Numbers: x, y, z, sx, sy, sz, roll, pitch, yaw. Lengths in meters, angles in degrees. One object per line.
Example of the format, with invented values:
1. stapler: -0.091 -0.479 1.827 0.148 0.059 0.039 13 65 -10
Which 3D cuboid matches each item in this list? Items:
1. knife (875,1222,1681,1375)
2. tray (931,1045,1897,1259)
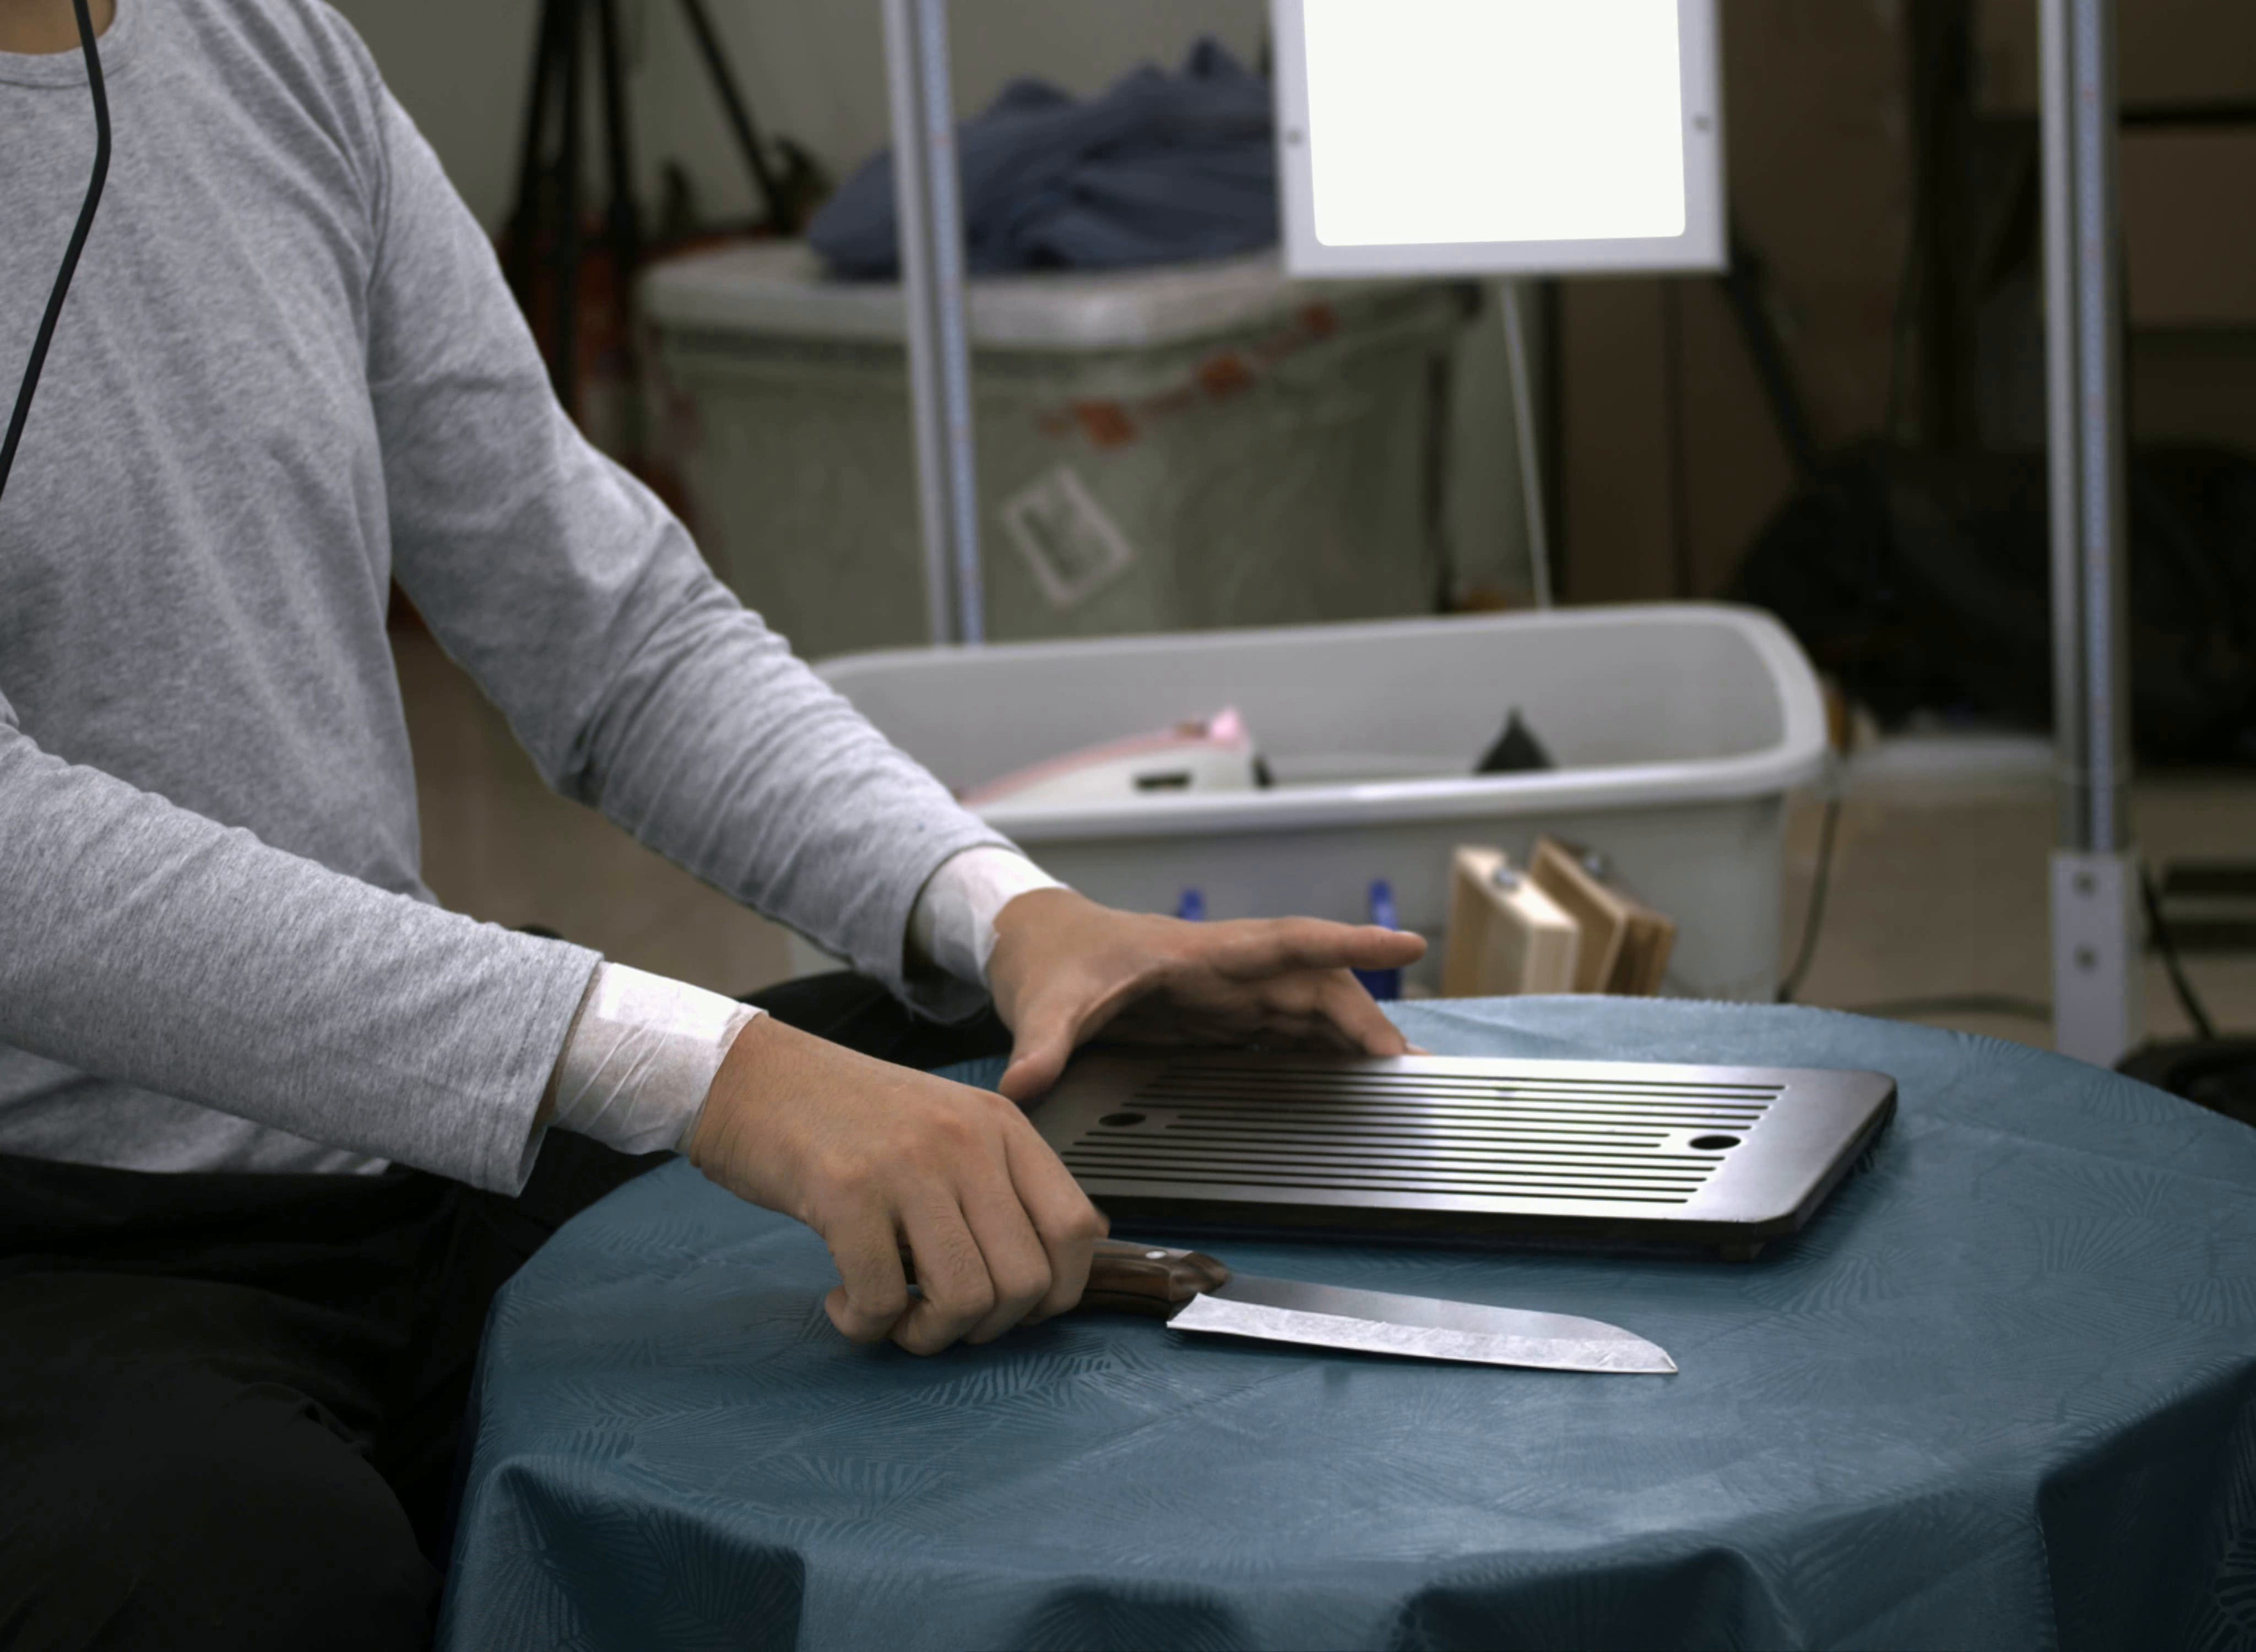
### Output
1. knife: 0.043 0.152 1.751 0.294 0.020 0.049 5 22 29
2. tray: 0.100 0.111 1.894 0.311 0.019 0.167 0 15 24
